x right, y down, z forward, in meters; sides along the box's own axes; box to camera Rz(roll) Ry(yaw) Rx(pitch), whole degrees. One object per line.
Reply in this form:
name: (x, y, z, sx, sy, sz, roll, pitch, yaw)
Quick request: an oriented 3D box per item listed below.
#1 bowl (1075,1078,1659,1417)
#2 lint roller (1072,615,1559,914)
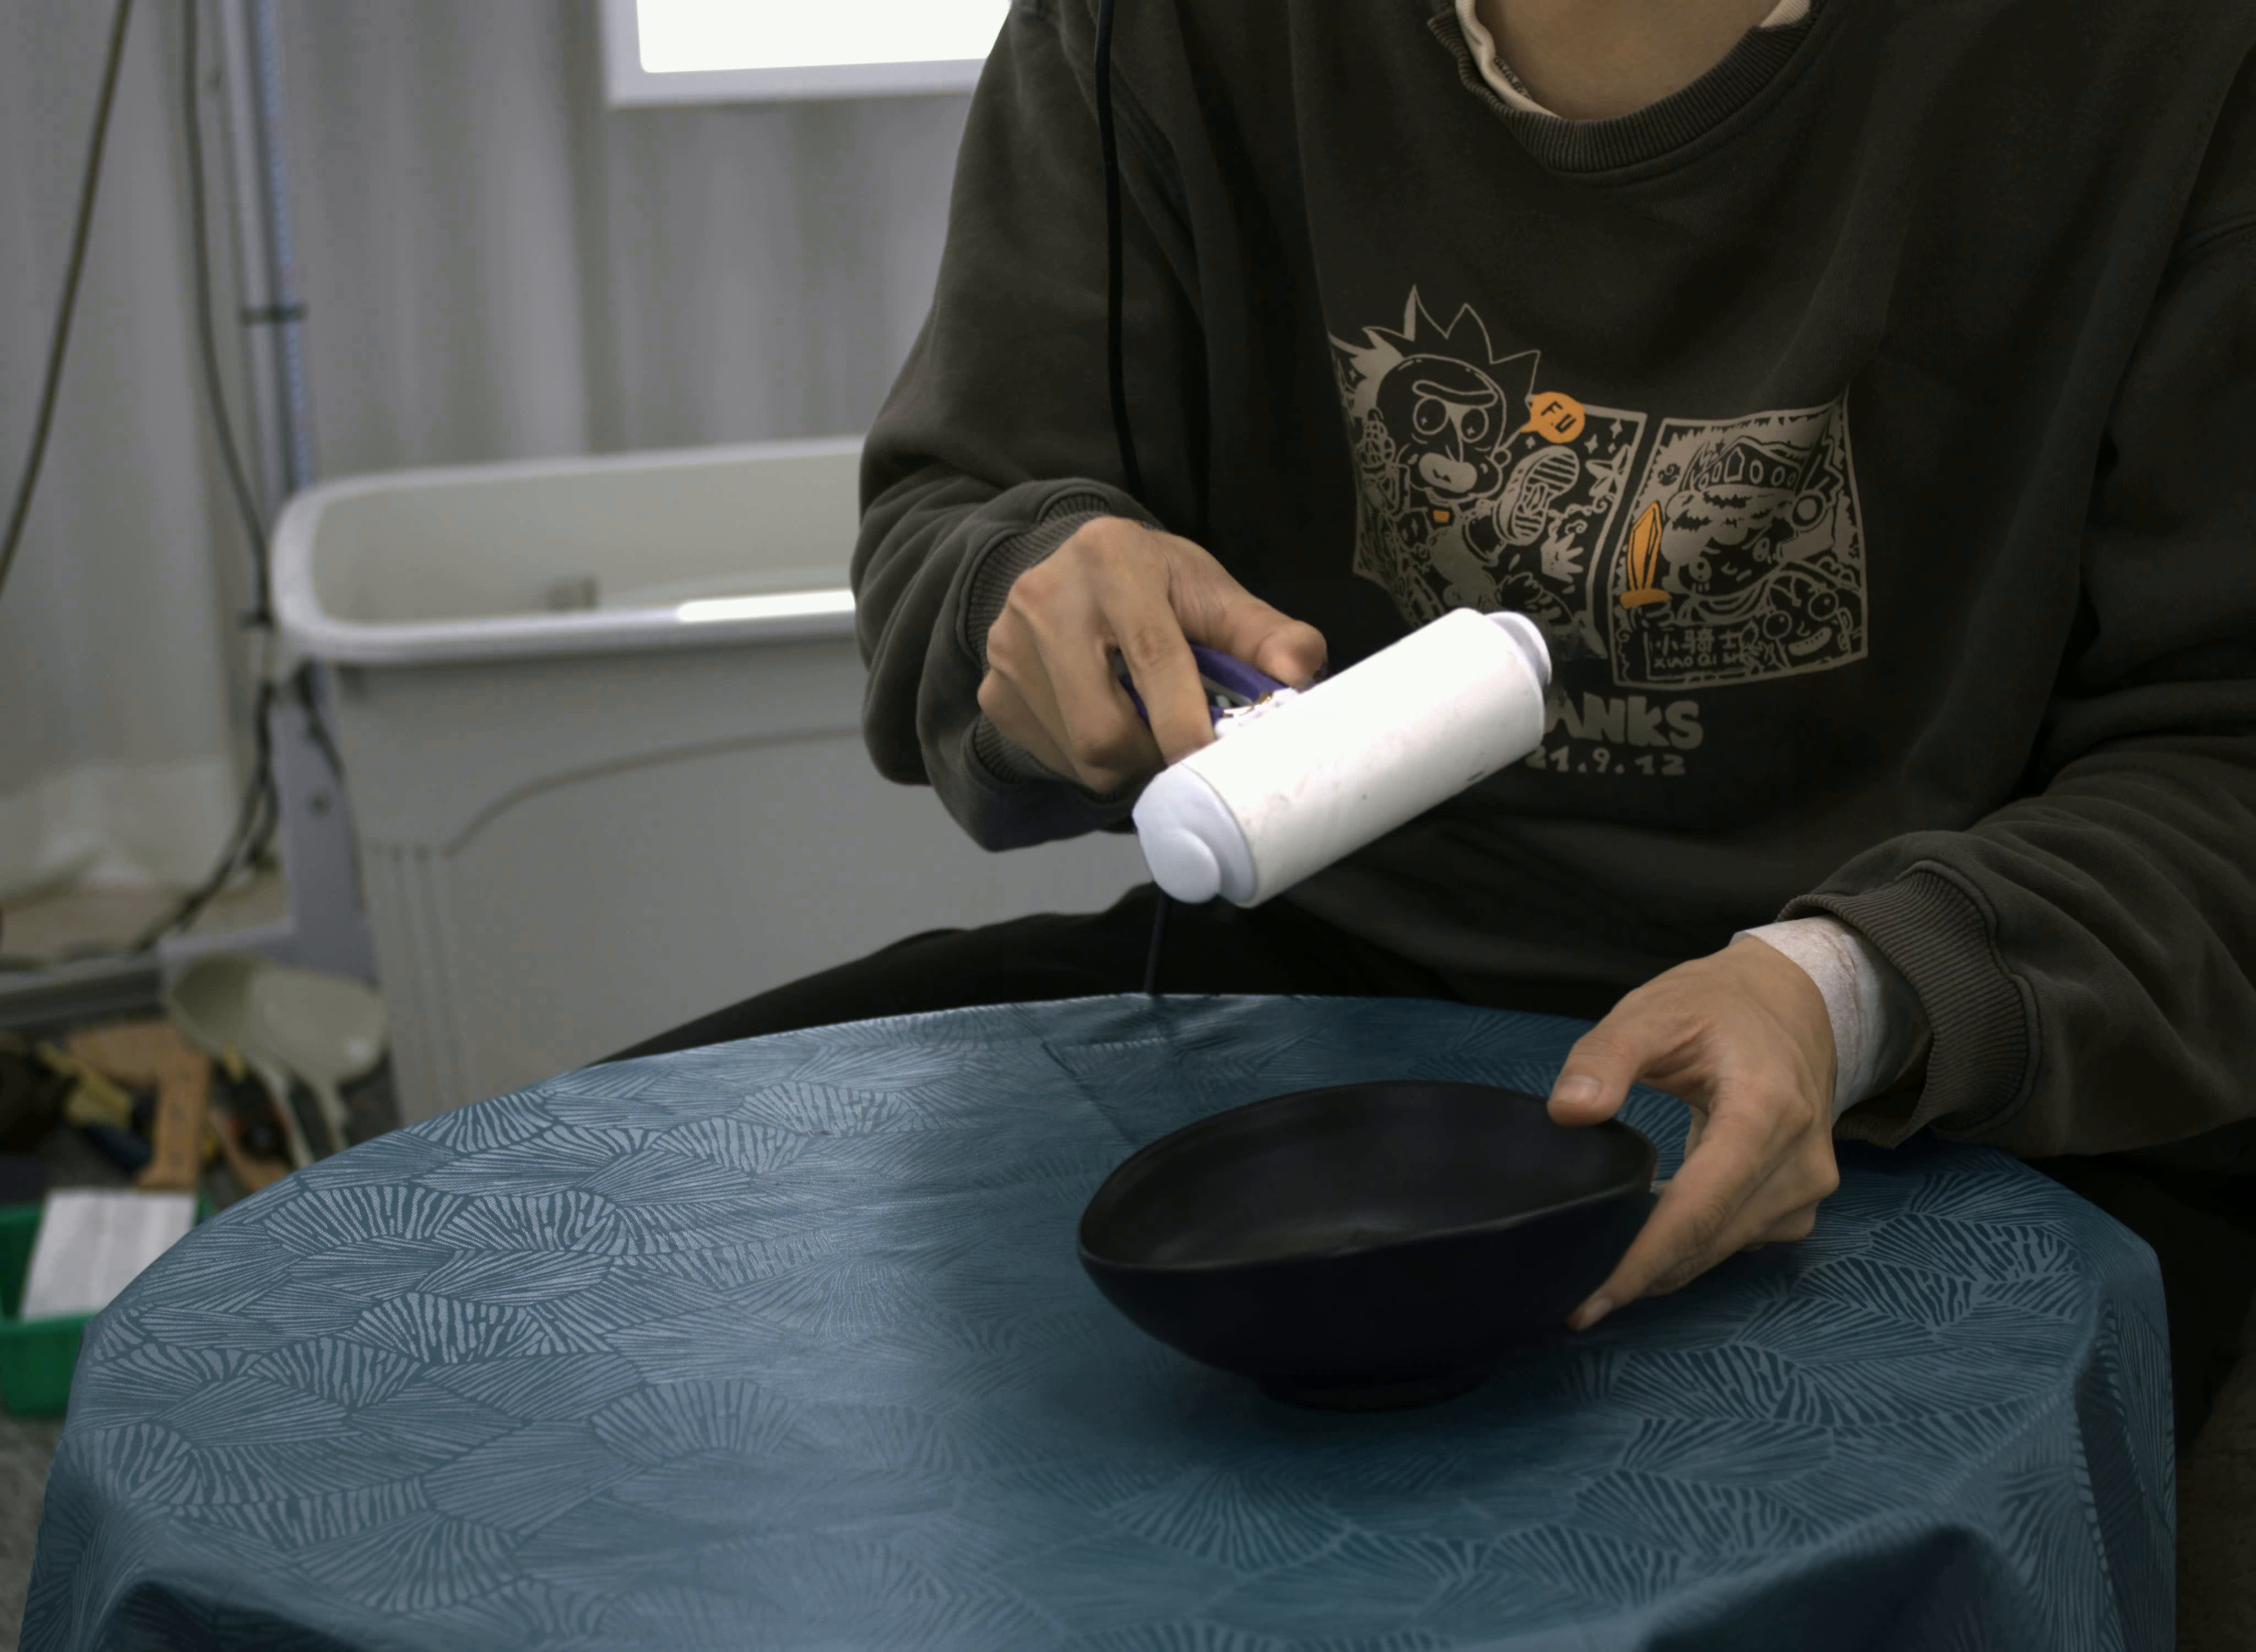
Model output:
bowl: (0.070, 0.126, 1.548, 0.169, 0.066, 0.138, -10, 15, -18)
lint roller: (0.032, -0.040, 1.604, 0.133, 0.049, 0.183, -28, 32, -18)
